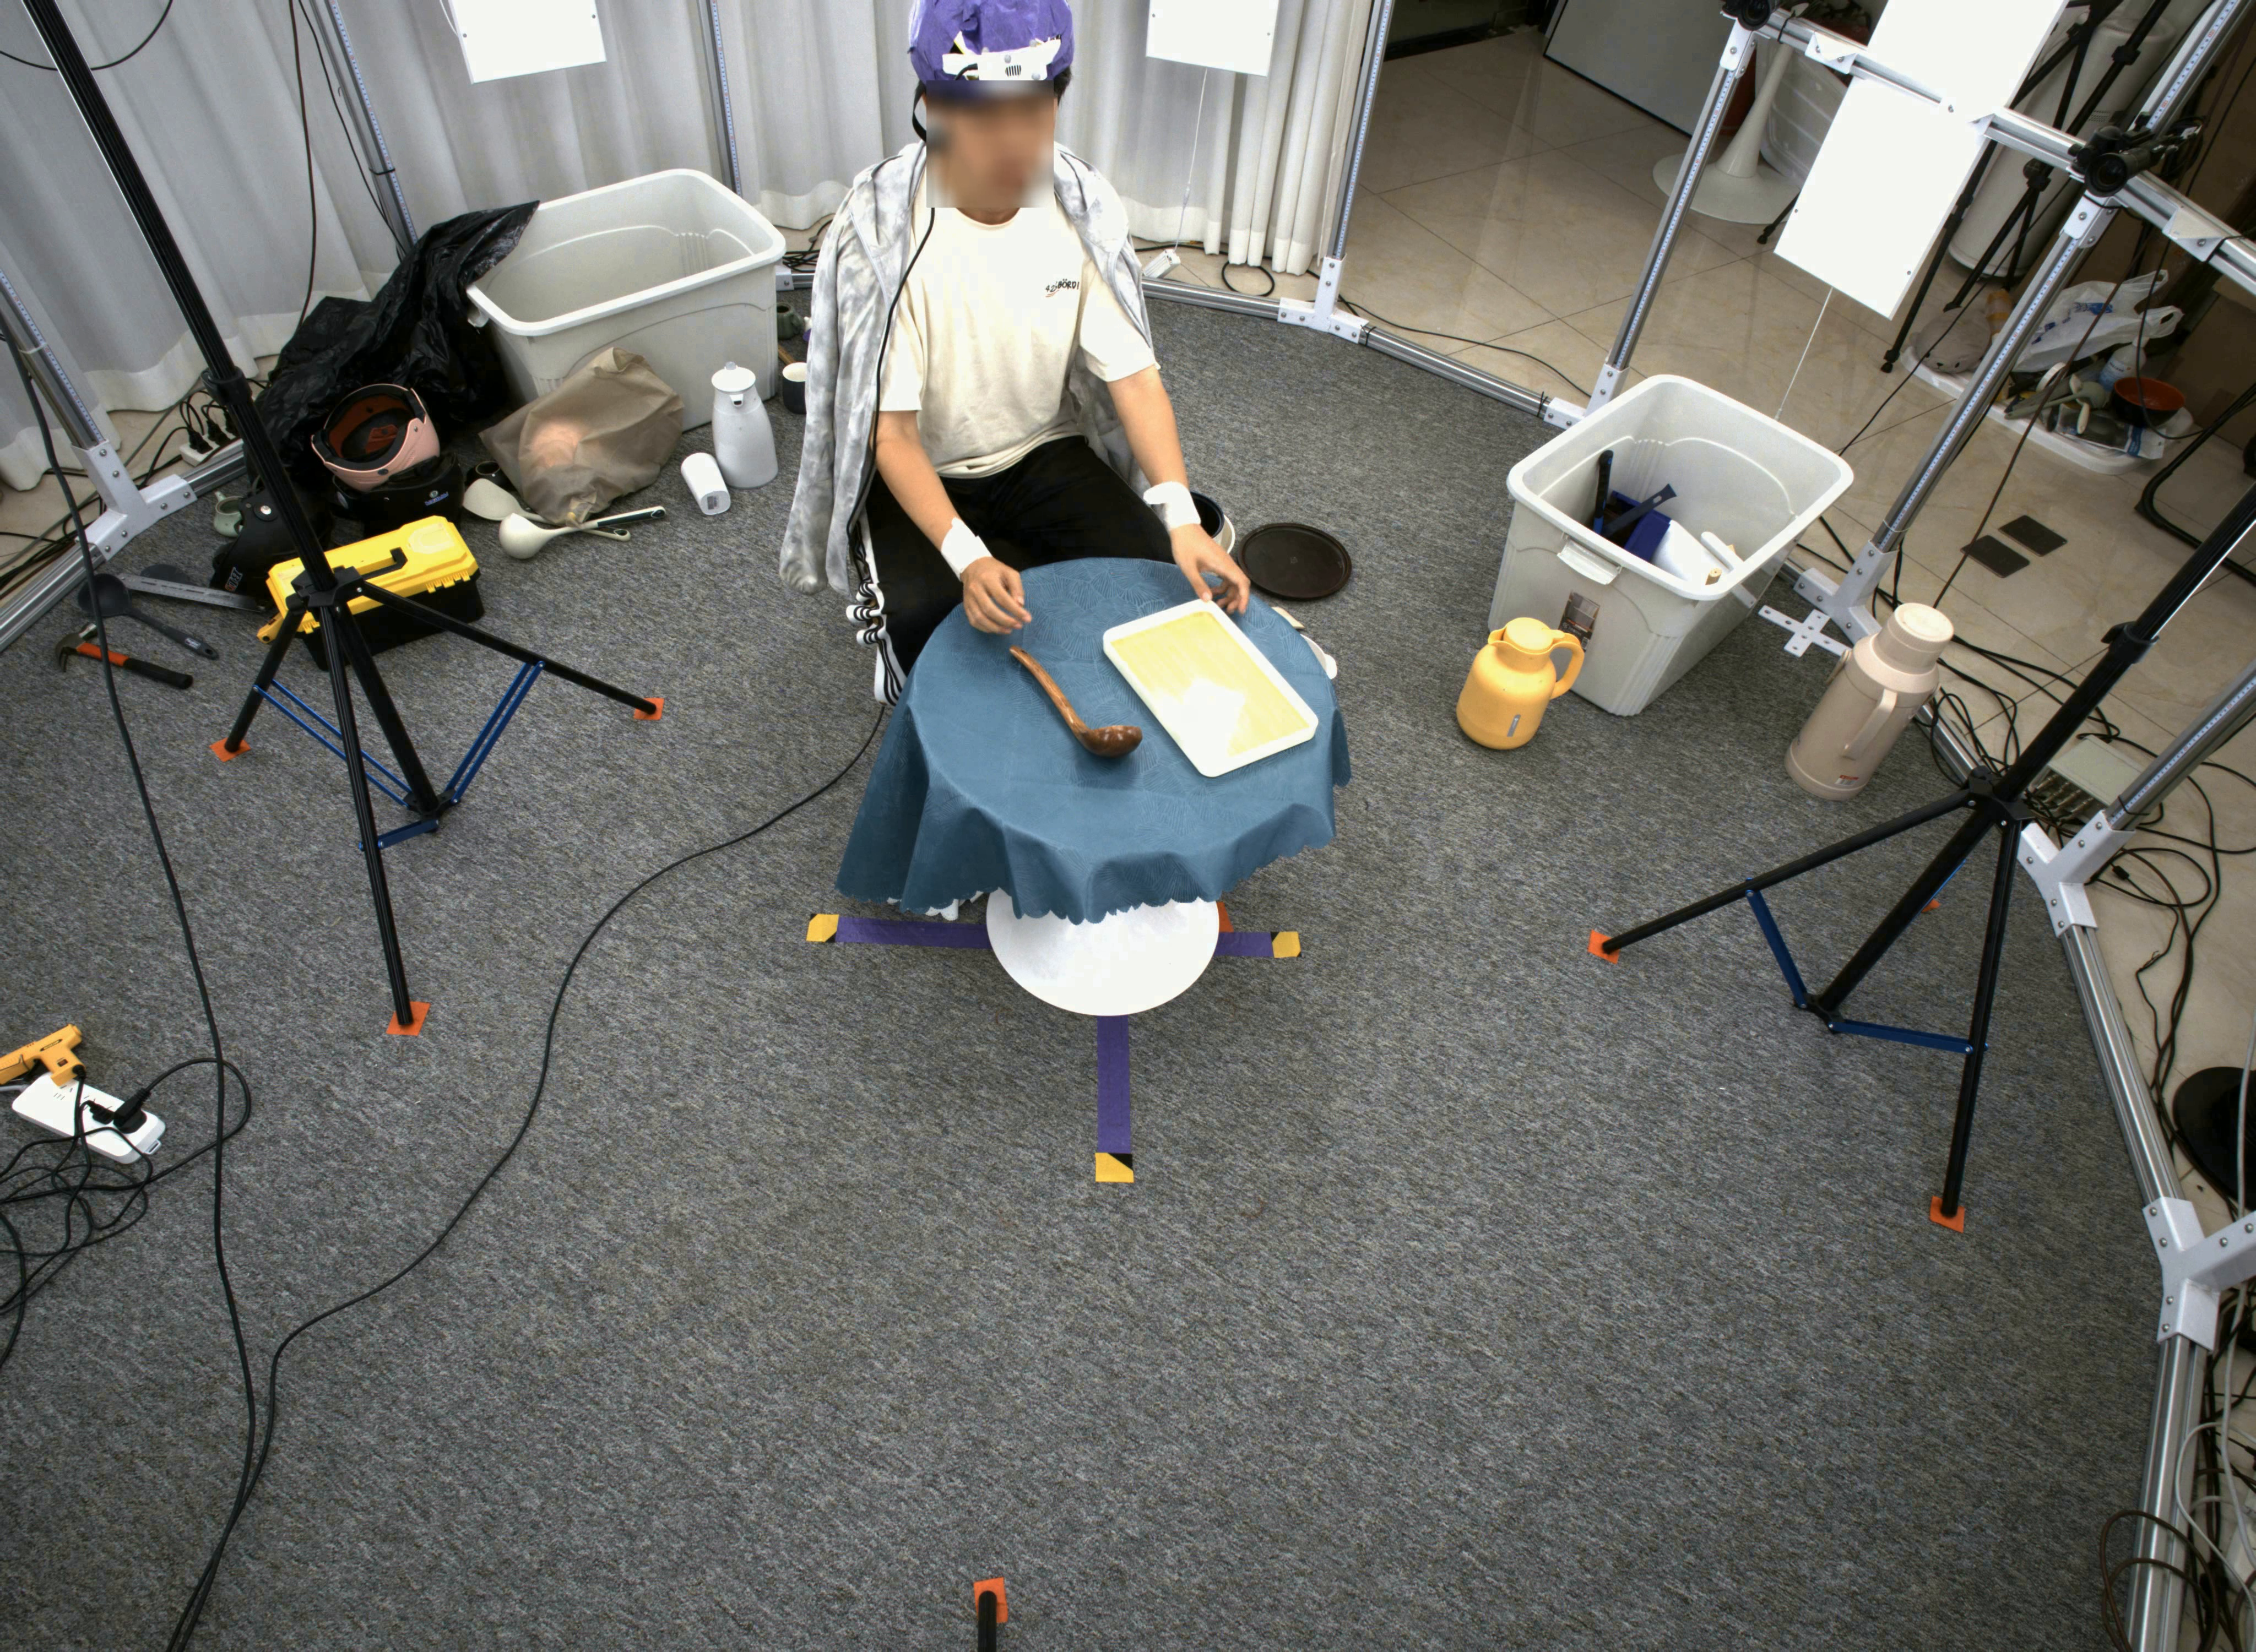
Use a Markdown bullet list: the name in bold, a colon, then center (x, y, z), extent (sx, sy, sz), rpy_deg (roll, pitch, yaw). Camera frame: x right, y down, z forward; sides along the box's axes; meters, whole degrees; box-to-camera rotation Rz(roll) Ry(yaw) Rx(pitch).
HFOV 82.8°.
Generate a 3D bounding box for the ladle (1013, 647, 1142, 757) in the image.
- **ladle**: center (-0.075, -0.188, 1.774), extent (0.081, 0.076, 0.280), rpy_deg (14, 32, -48)

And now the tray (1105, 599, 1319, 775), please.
- **tray**: center (0.115, -0.204, 1.828), extent (0.192, 0.027, 0.307), rpy_deg (-21, 53, -21)
